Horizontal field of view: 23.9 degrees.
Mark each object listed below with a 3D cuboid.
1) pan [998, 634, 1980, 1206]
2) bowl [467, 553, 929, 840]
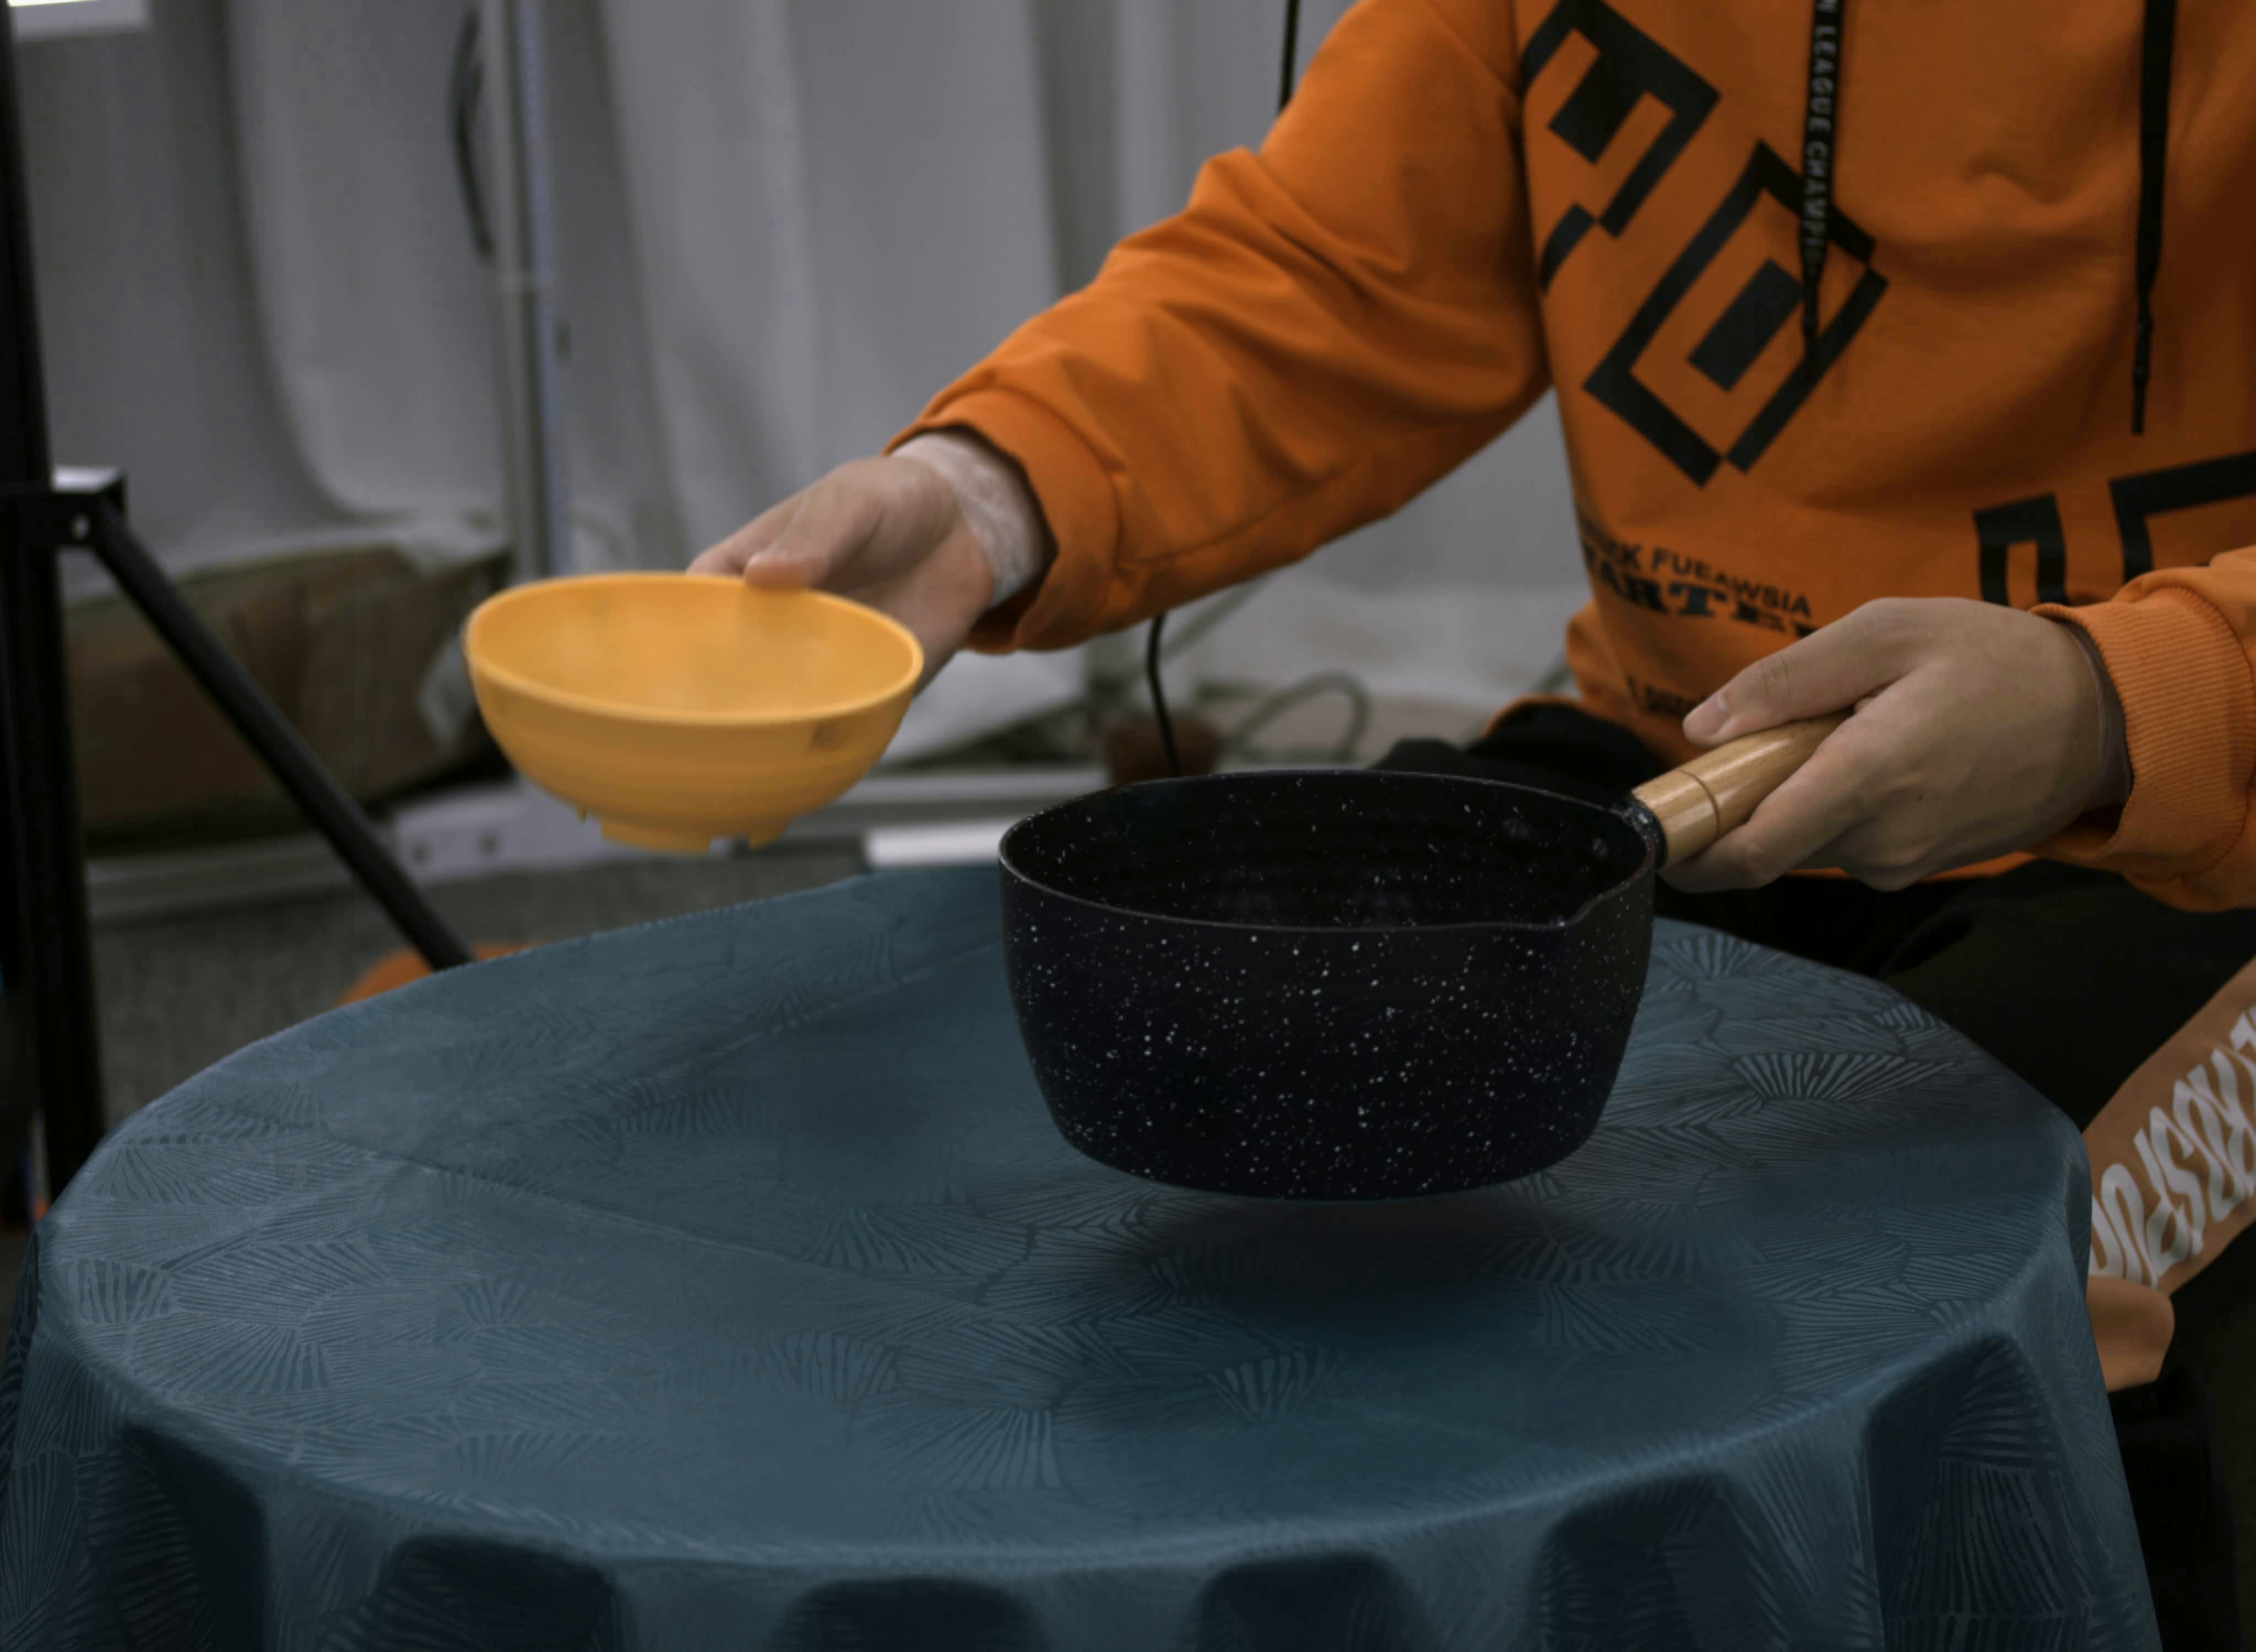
[{"bbox_3d":[0.118,0.022,1.534,0.335,0.108,0.212,-12,17,-35],"label":"pan"},{"bbox_3d":[-0.136,-0.035,1.660,0.144,0.060,0.146,5,19,-3],"label":"bowl"}]
